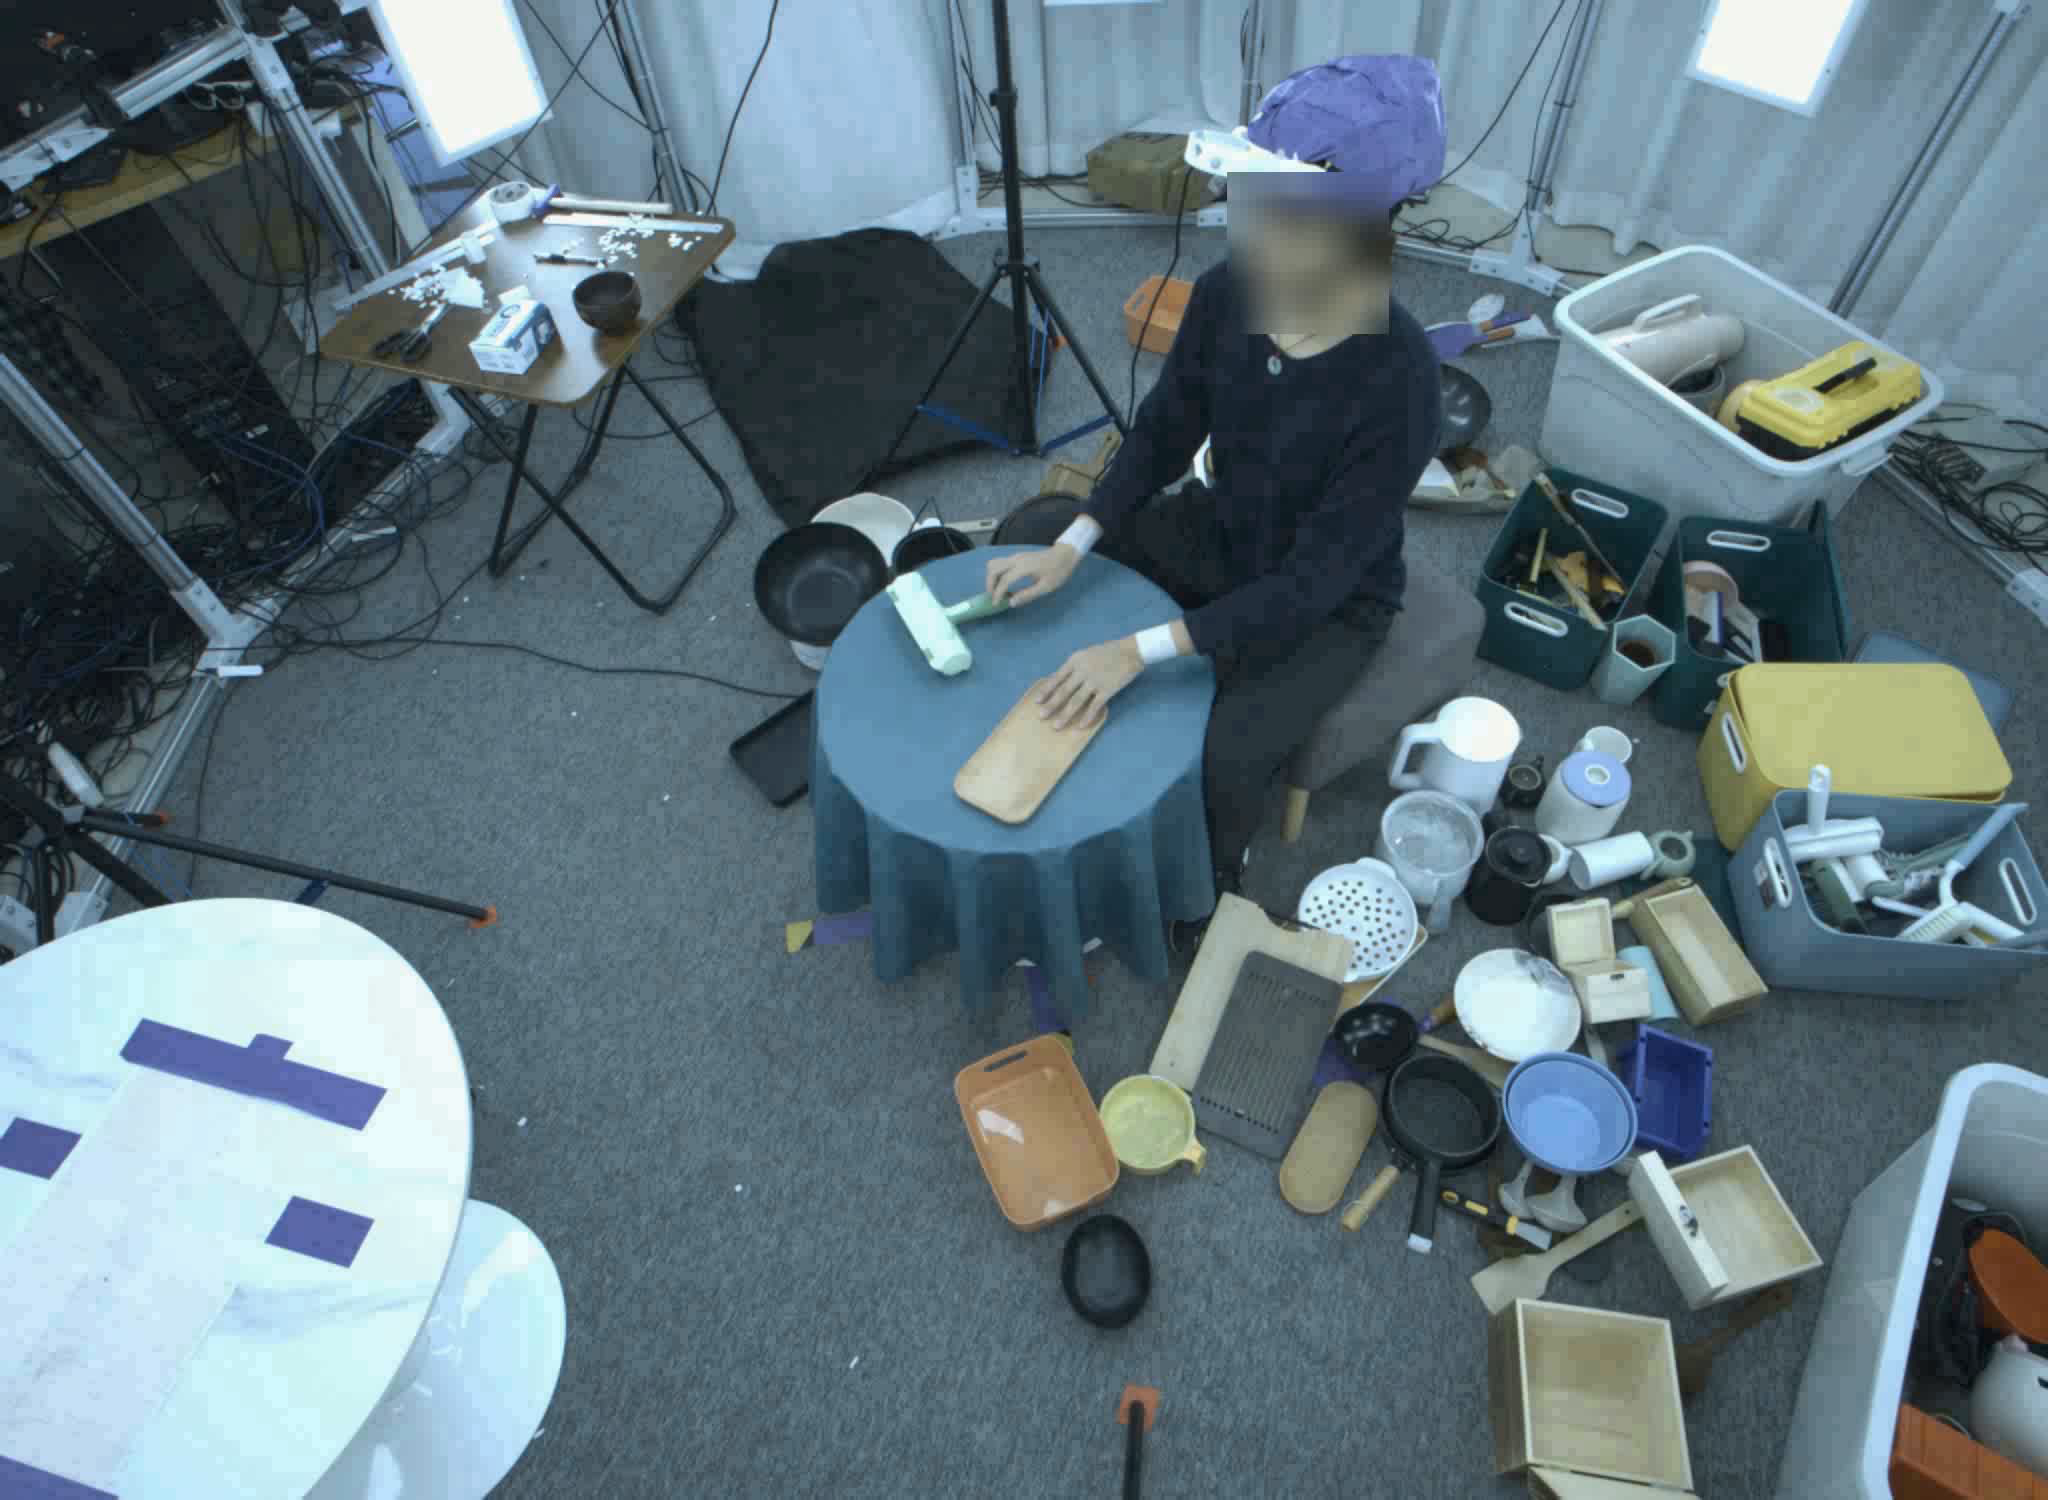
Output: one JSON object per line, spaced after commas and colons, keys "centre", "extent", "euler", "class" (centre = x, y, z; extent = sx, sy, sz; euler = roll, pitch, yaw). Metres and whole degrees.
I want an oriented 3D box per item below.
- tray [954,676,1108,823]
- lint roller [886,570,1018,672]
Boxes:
{"centre": [0.012, -0.003, 1.779], "extent": [0.129, 0.023, 0.252], "euler": [29, 60, 18], "class": "tray"}
{"centre": [-0.097, -0.229, 1.899], "extent": [0.184, 0.083, 0.195], "euler": [-28, 59, -9], "class": "lint roller"}
